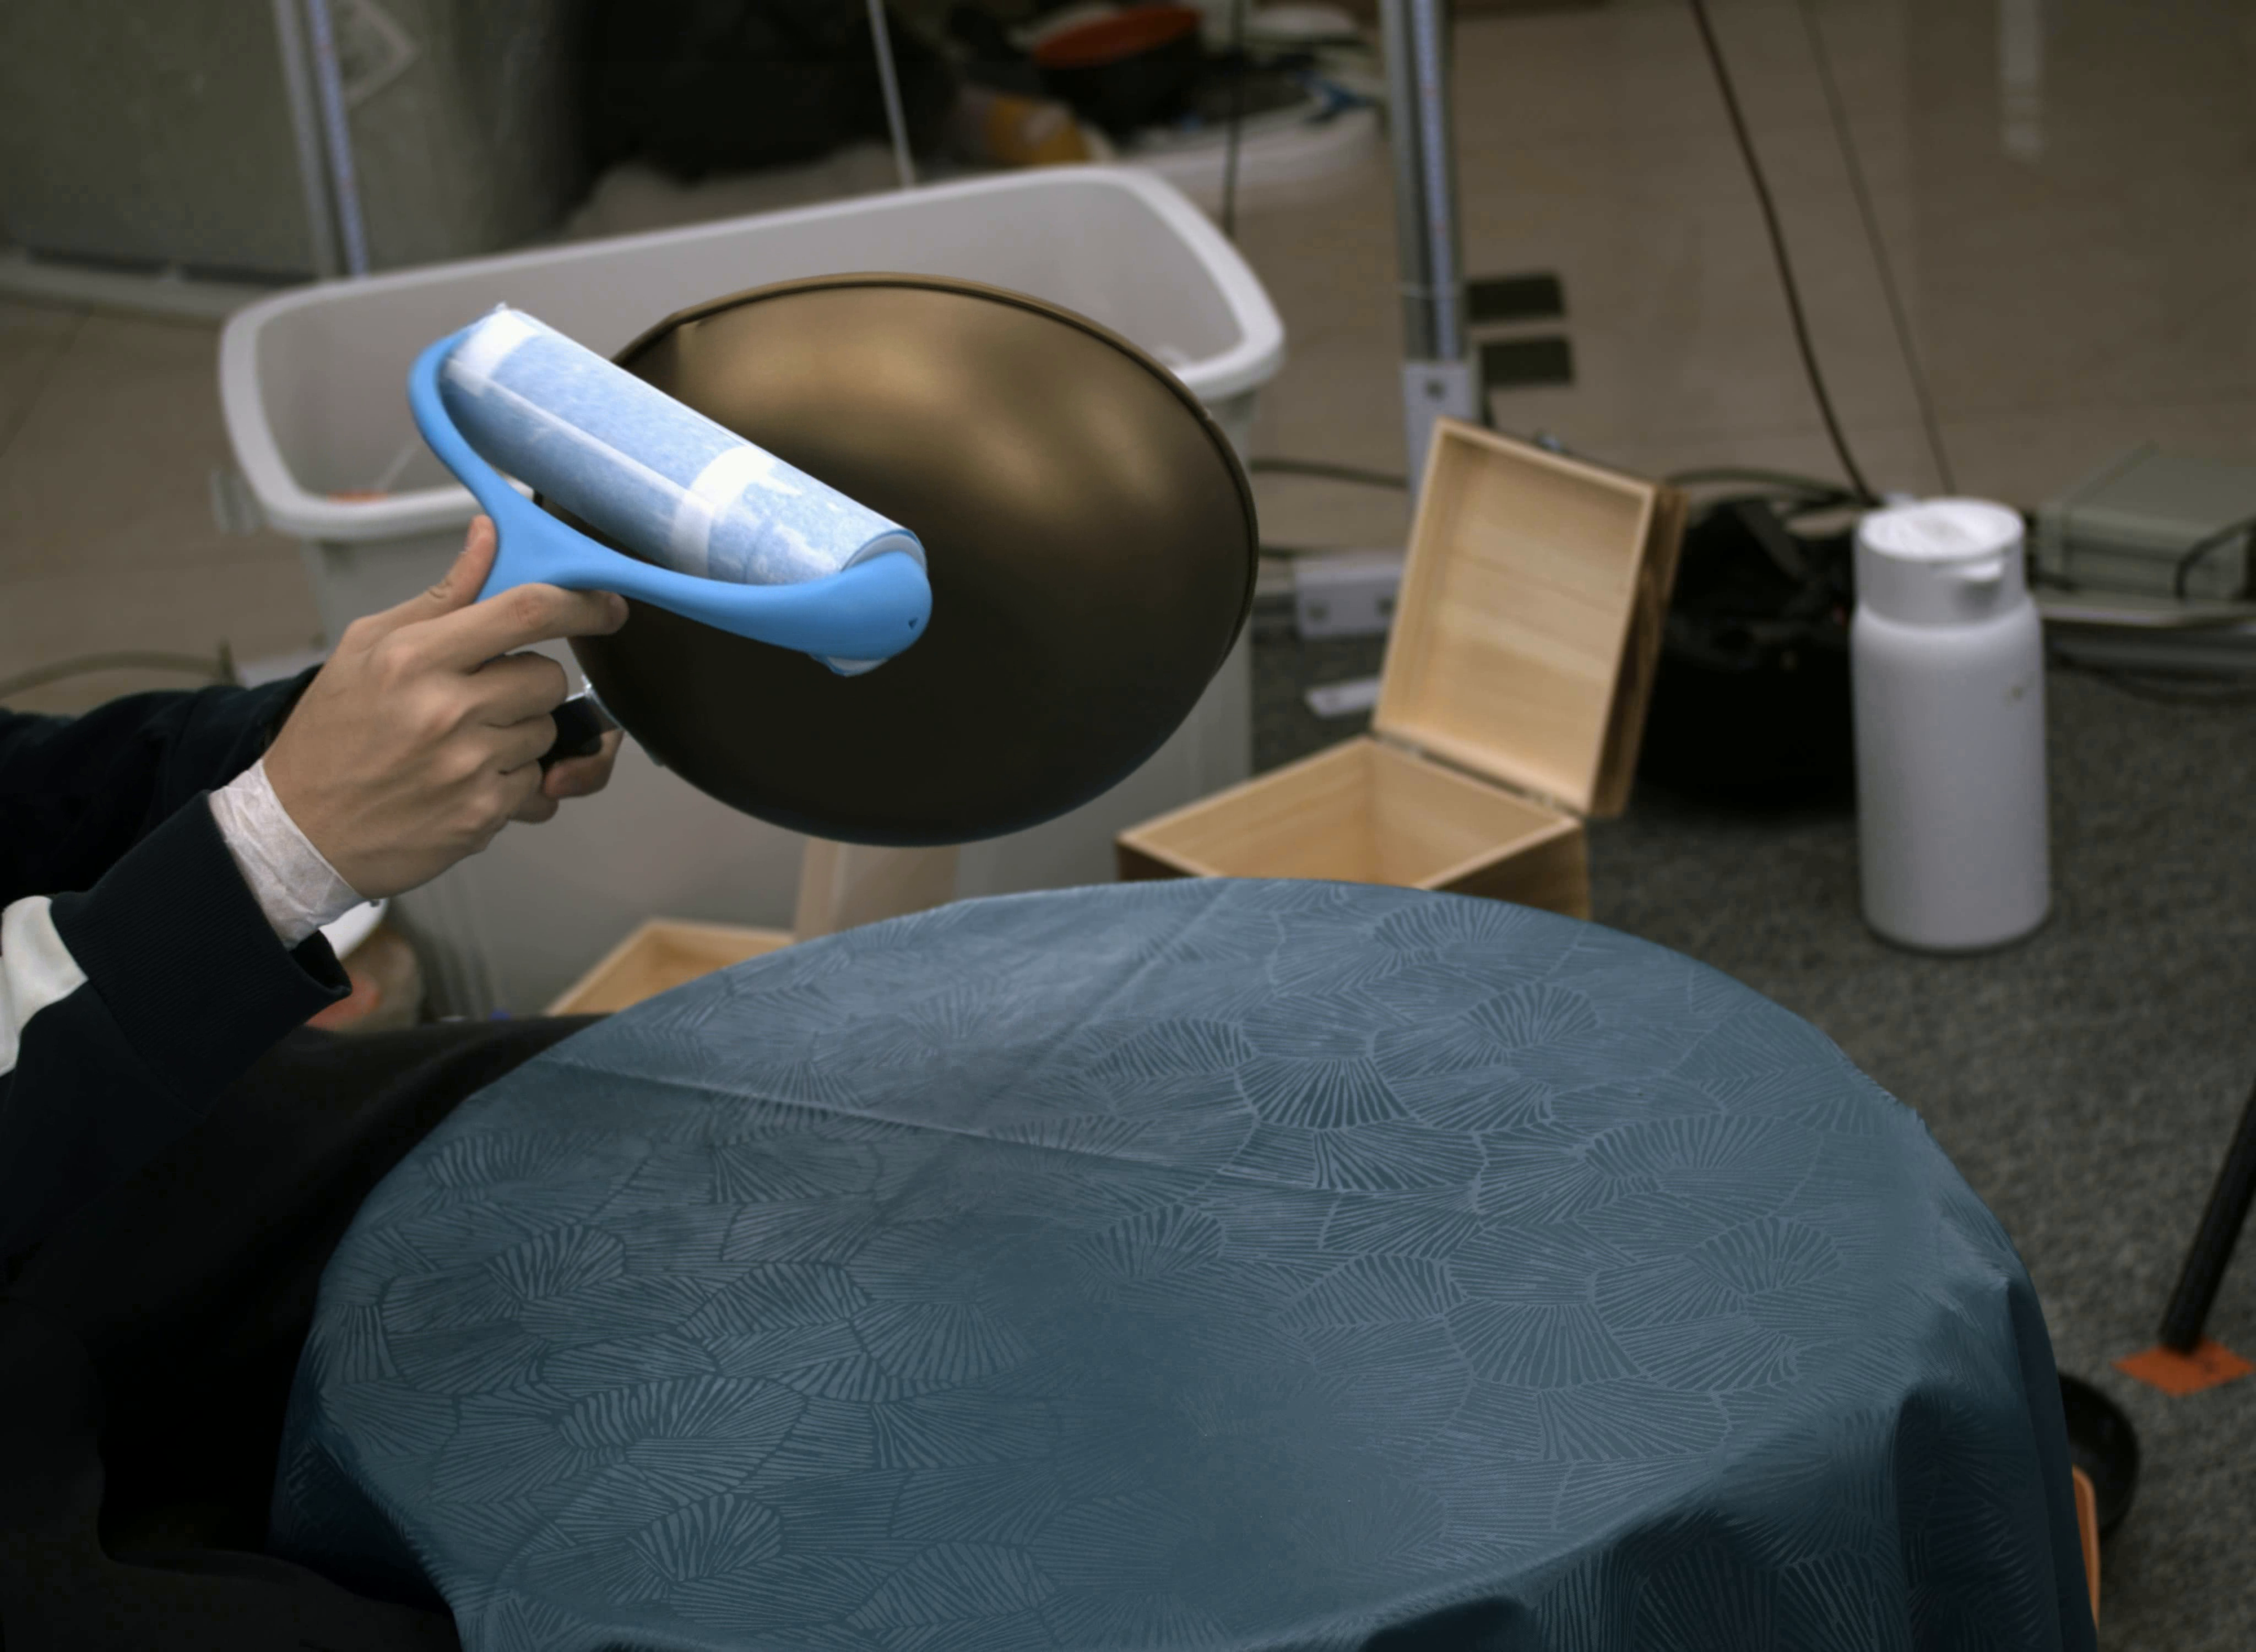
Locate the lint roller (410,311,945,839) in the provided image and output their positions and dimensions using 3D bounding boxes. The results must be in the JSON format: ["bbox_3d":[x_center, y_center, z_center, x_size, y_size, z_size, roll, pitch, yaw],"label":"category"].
[{"bbox_3d":[-0.189,-0.077,1.946,0.227,0.069,0.179,28,69,30],"label":"lint roller"}]

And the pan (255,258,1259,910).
[{"bbox_3d":[-0.165,-0.046,2.170,0.465,0.292,0.085,-25,42,26],"label":"pan"}]
